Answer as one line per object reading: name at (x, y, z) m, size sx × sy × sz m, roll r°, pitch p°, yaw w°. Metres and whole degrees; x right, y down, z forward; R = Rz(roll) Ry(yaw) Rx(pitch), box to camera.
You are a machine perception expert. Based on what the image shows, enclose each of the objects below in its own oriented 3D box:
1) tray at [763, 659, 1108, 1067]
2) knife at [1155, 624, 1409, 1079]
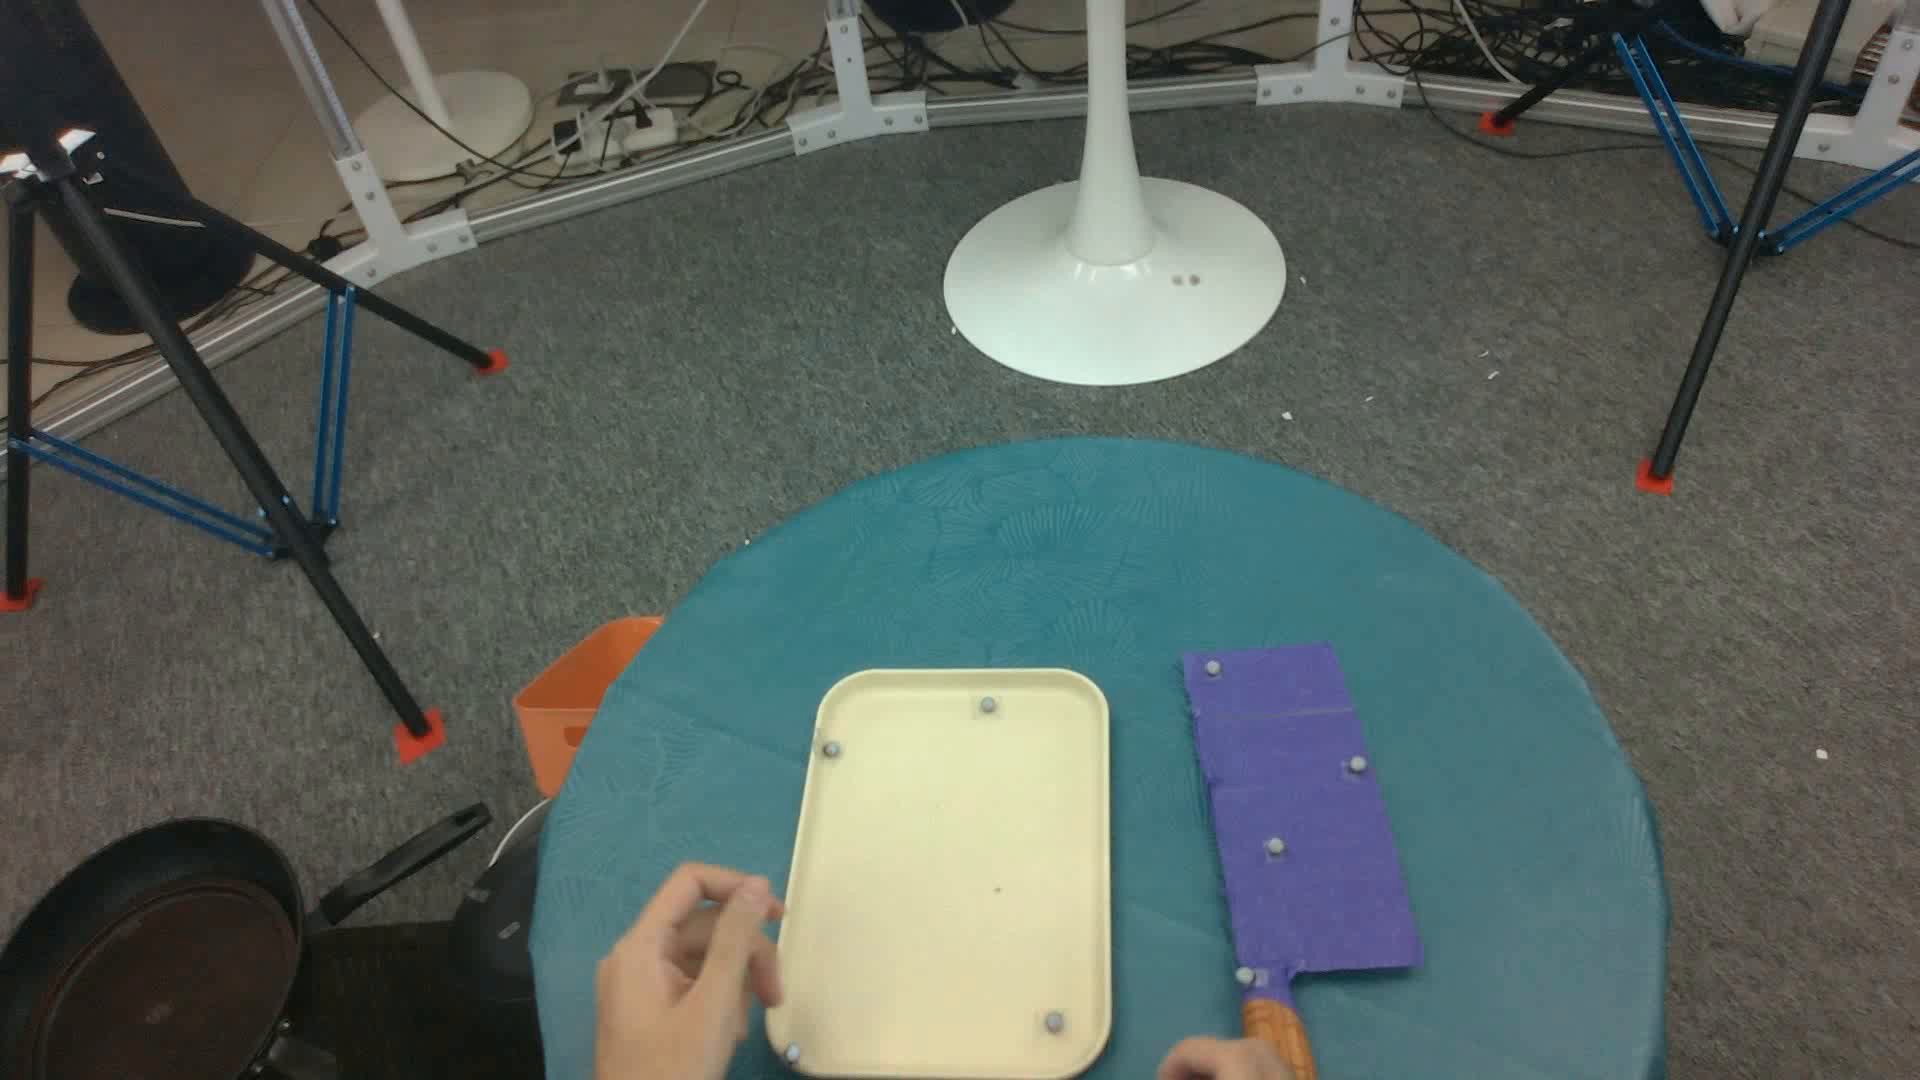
tray at (-0.008, 0.163, 0.736) m, size 0.171 × 0.017 × 0.241 m, roll -1°, pitch 47°, yaw 5°
knife at (0.174, 0.163, 0.709) m, size 0.104 × 0.032 × 0.316 m, roll -6°, pitch 46°, yaw 2°
